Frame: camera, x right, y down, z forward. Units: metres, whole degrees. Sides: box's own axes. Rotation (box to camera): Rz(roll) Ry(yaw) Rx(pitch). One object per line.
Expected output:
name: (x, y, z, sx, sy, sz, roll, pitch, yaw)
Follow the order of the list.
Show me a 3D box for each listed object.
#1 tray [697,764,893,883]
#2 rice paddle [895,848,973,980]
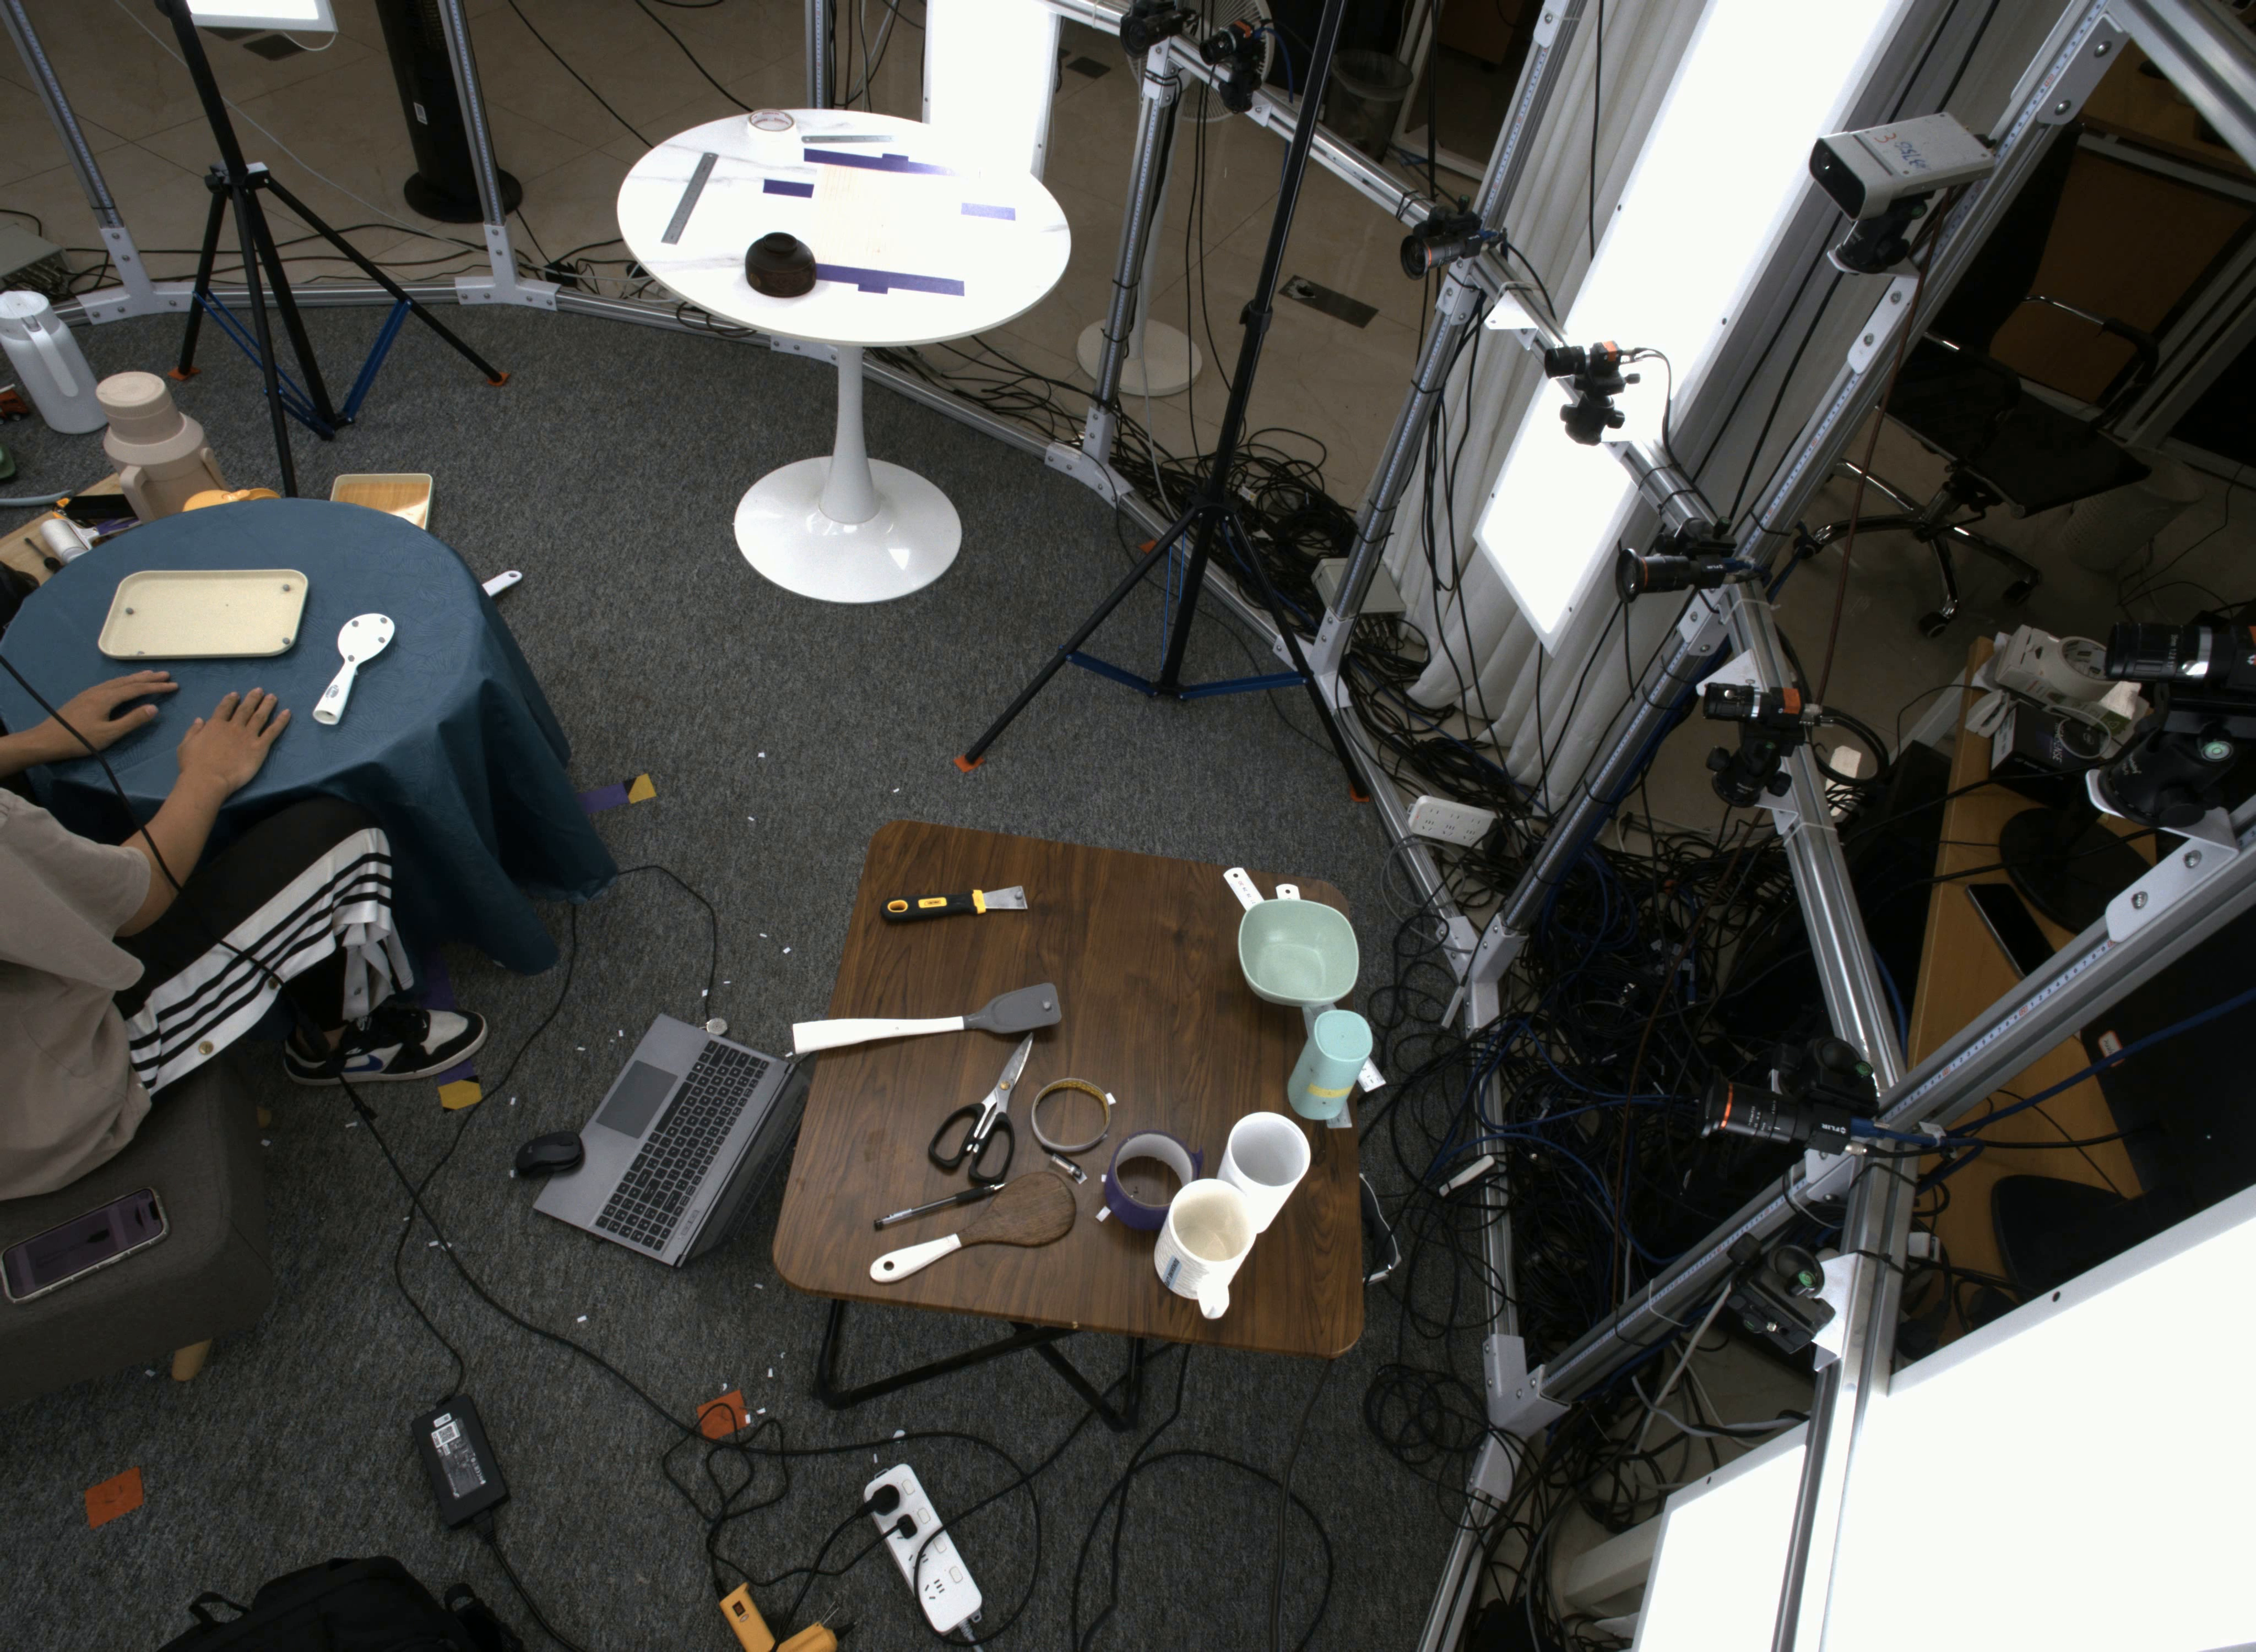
tray: (-0.440, -0.004, 1.723, 0.239, 0.018, 0.168, 8, 52, -7)
rice paddle: (-0.253, 0.104, 1.678, 0.068, 0.030, 0.203, 18, 52, -1)
